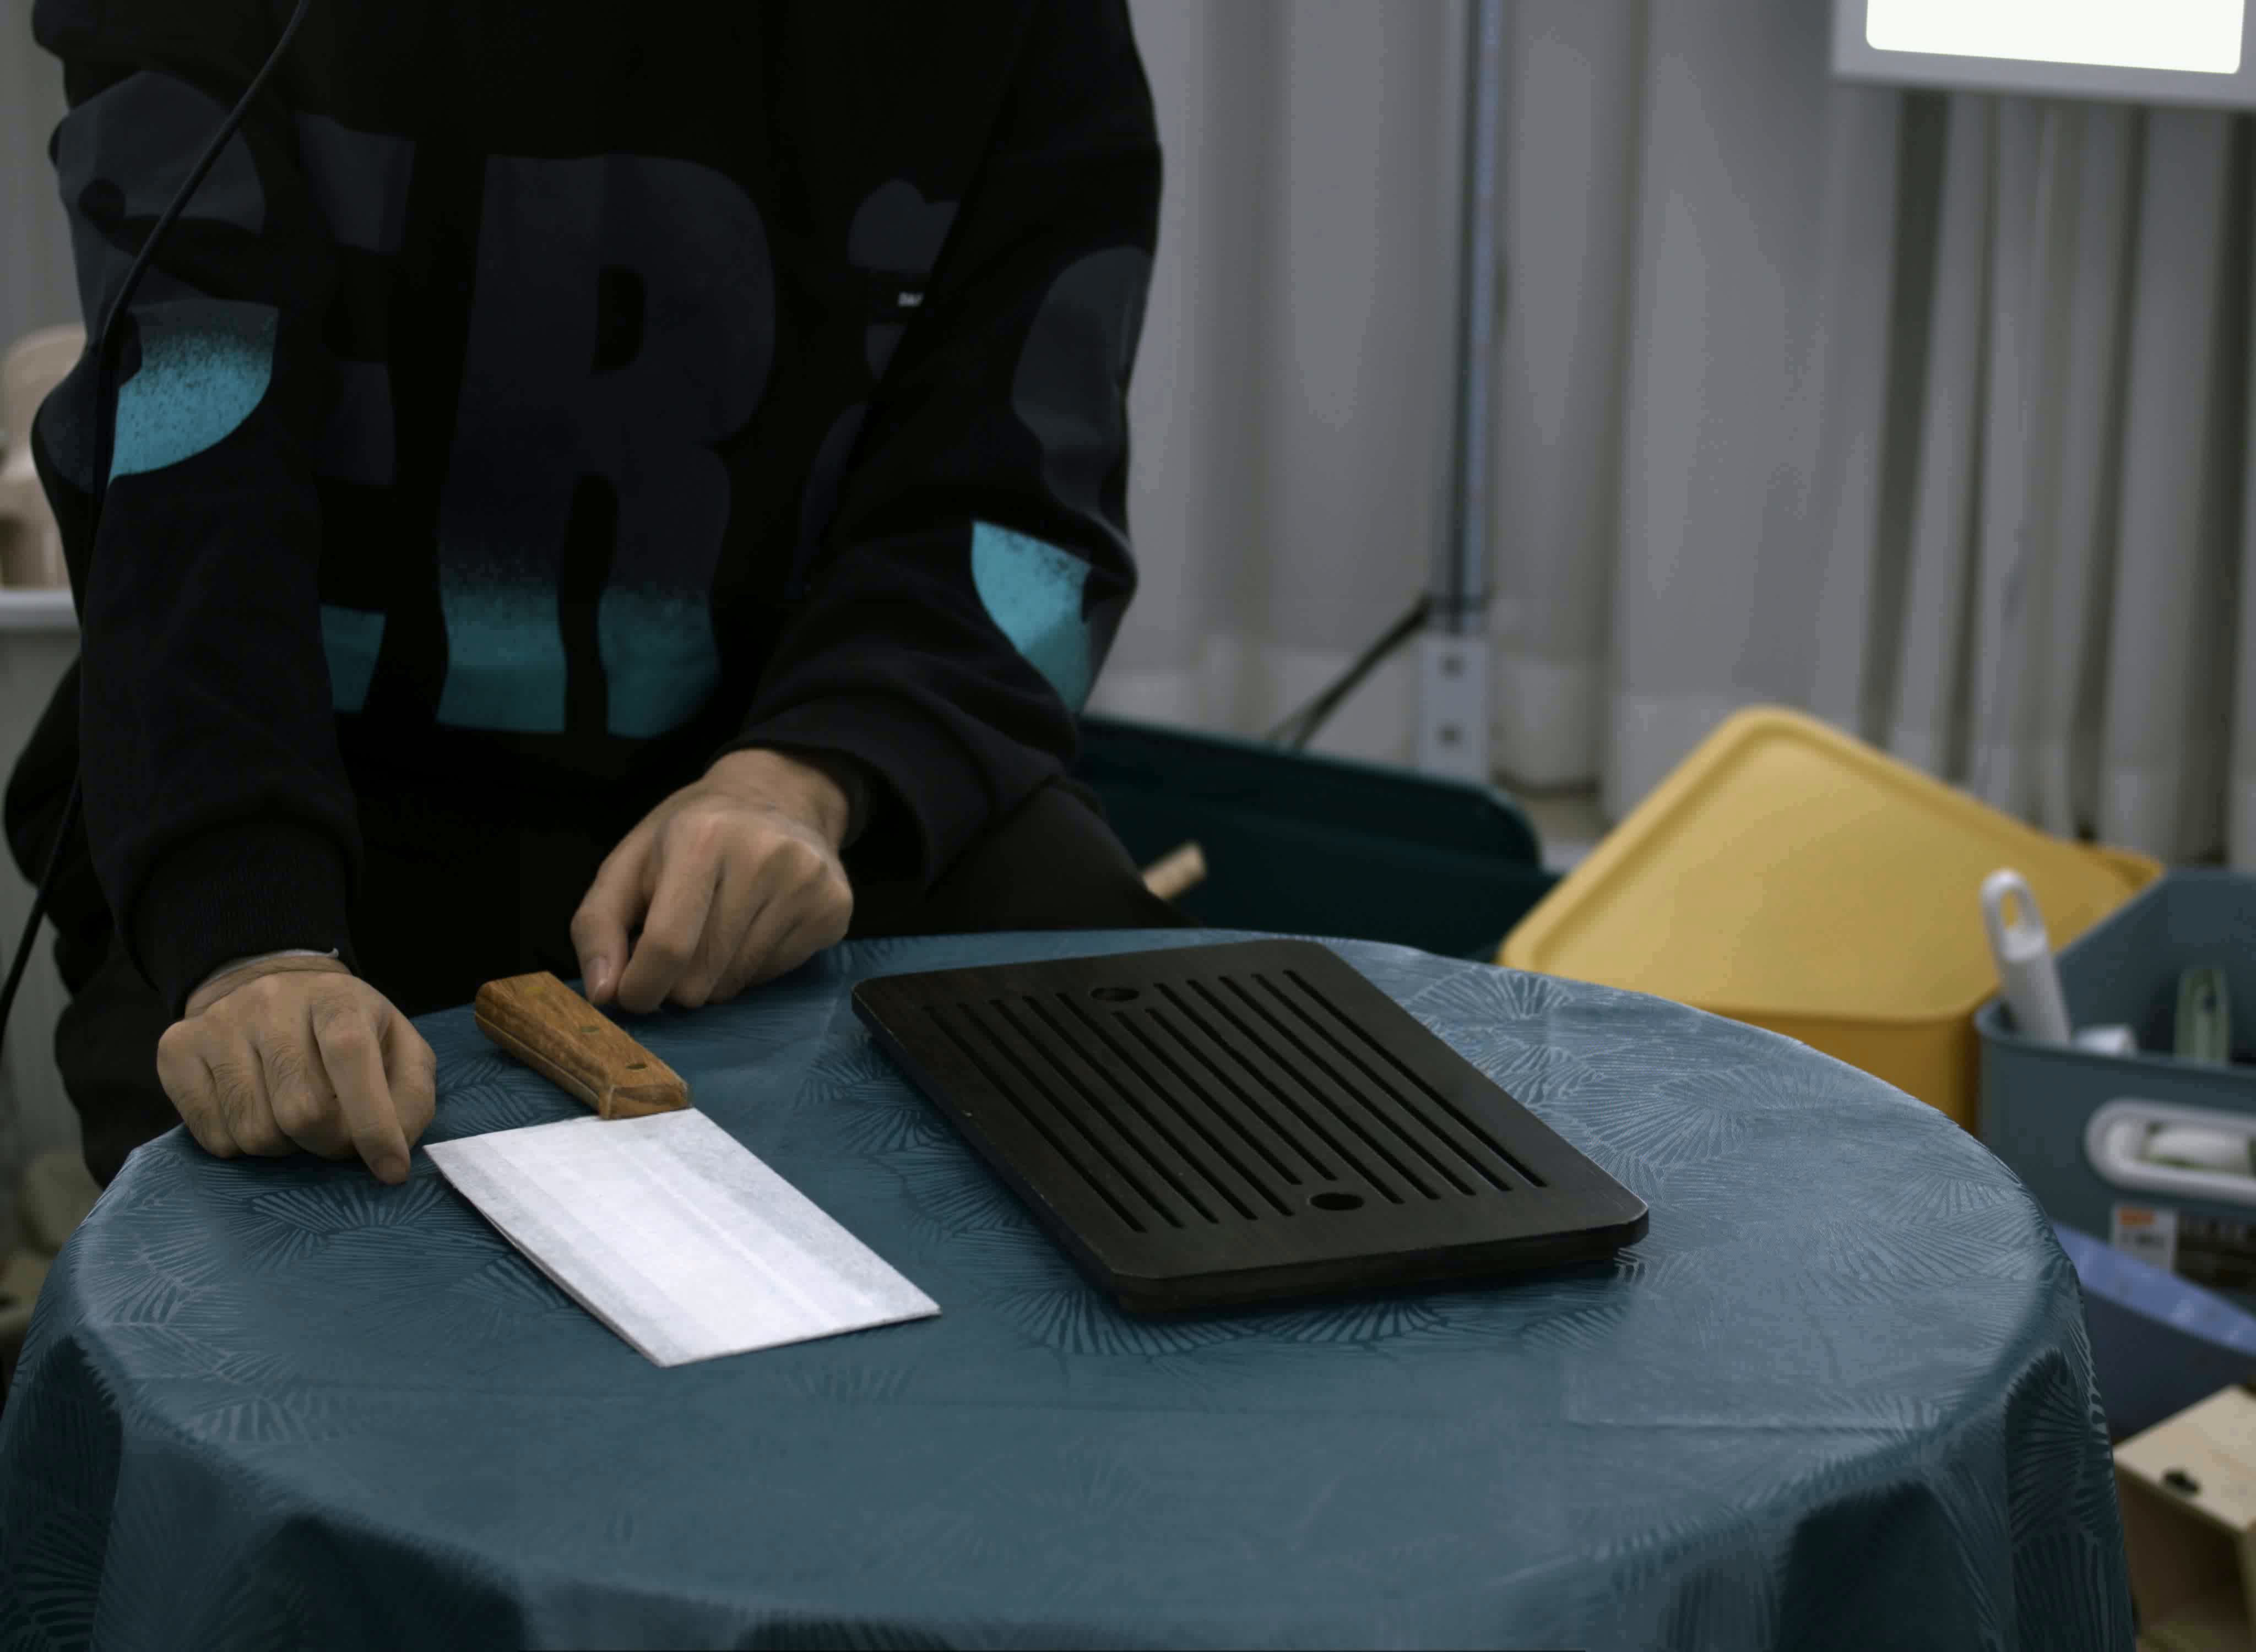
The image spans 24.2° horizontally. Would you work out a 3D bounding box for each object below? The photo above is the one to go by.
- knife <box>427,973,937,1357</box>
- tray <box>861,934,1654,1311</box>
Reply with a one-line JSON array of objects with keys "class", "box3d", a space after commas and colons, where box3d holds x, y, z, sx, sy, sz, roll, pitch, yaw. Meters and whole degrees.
[{"class": "knife", "box3d": [-0.161, 0.103, 1.622, 0.093, 0.021, 0.302, -9, 21, -26]}, {"class": "tray", "box3d": [0.033, 0.090, 1.668, 0.170, 0.019, 0.302, -5, 17, -17]}]
